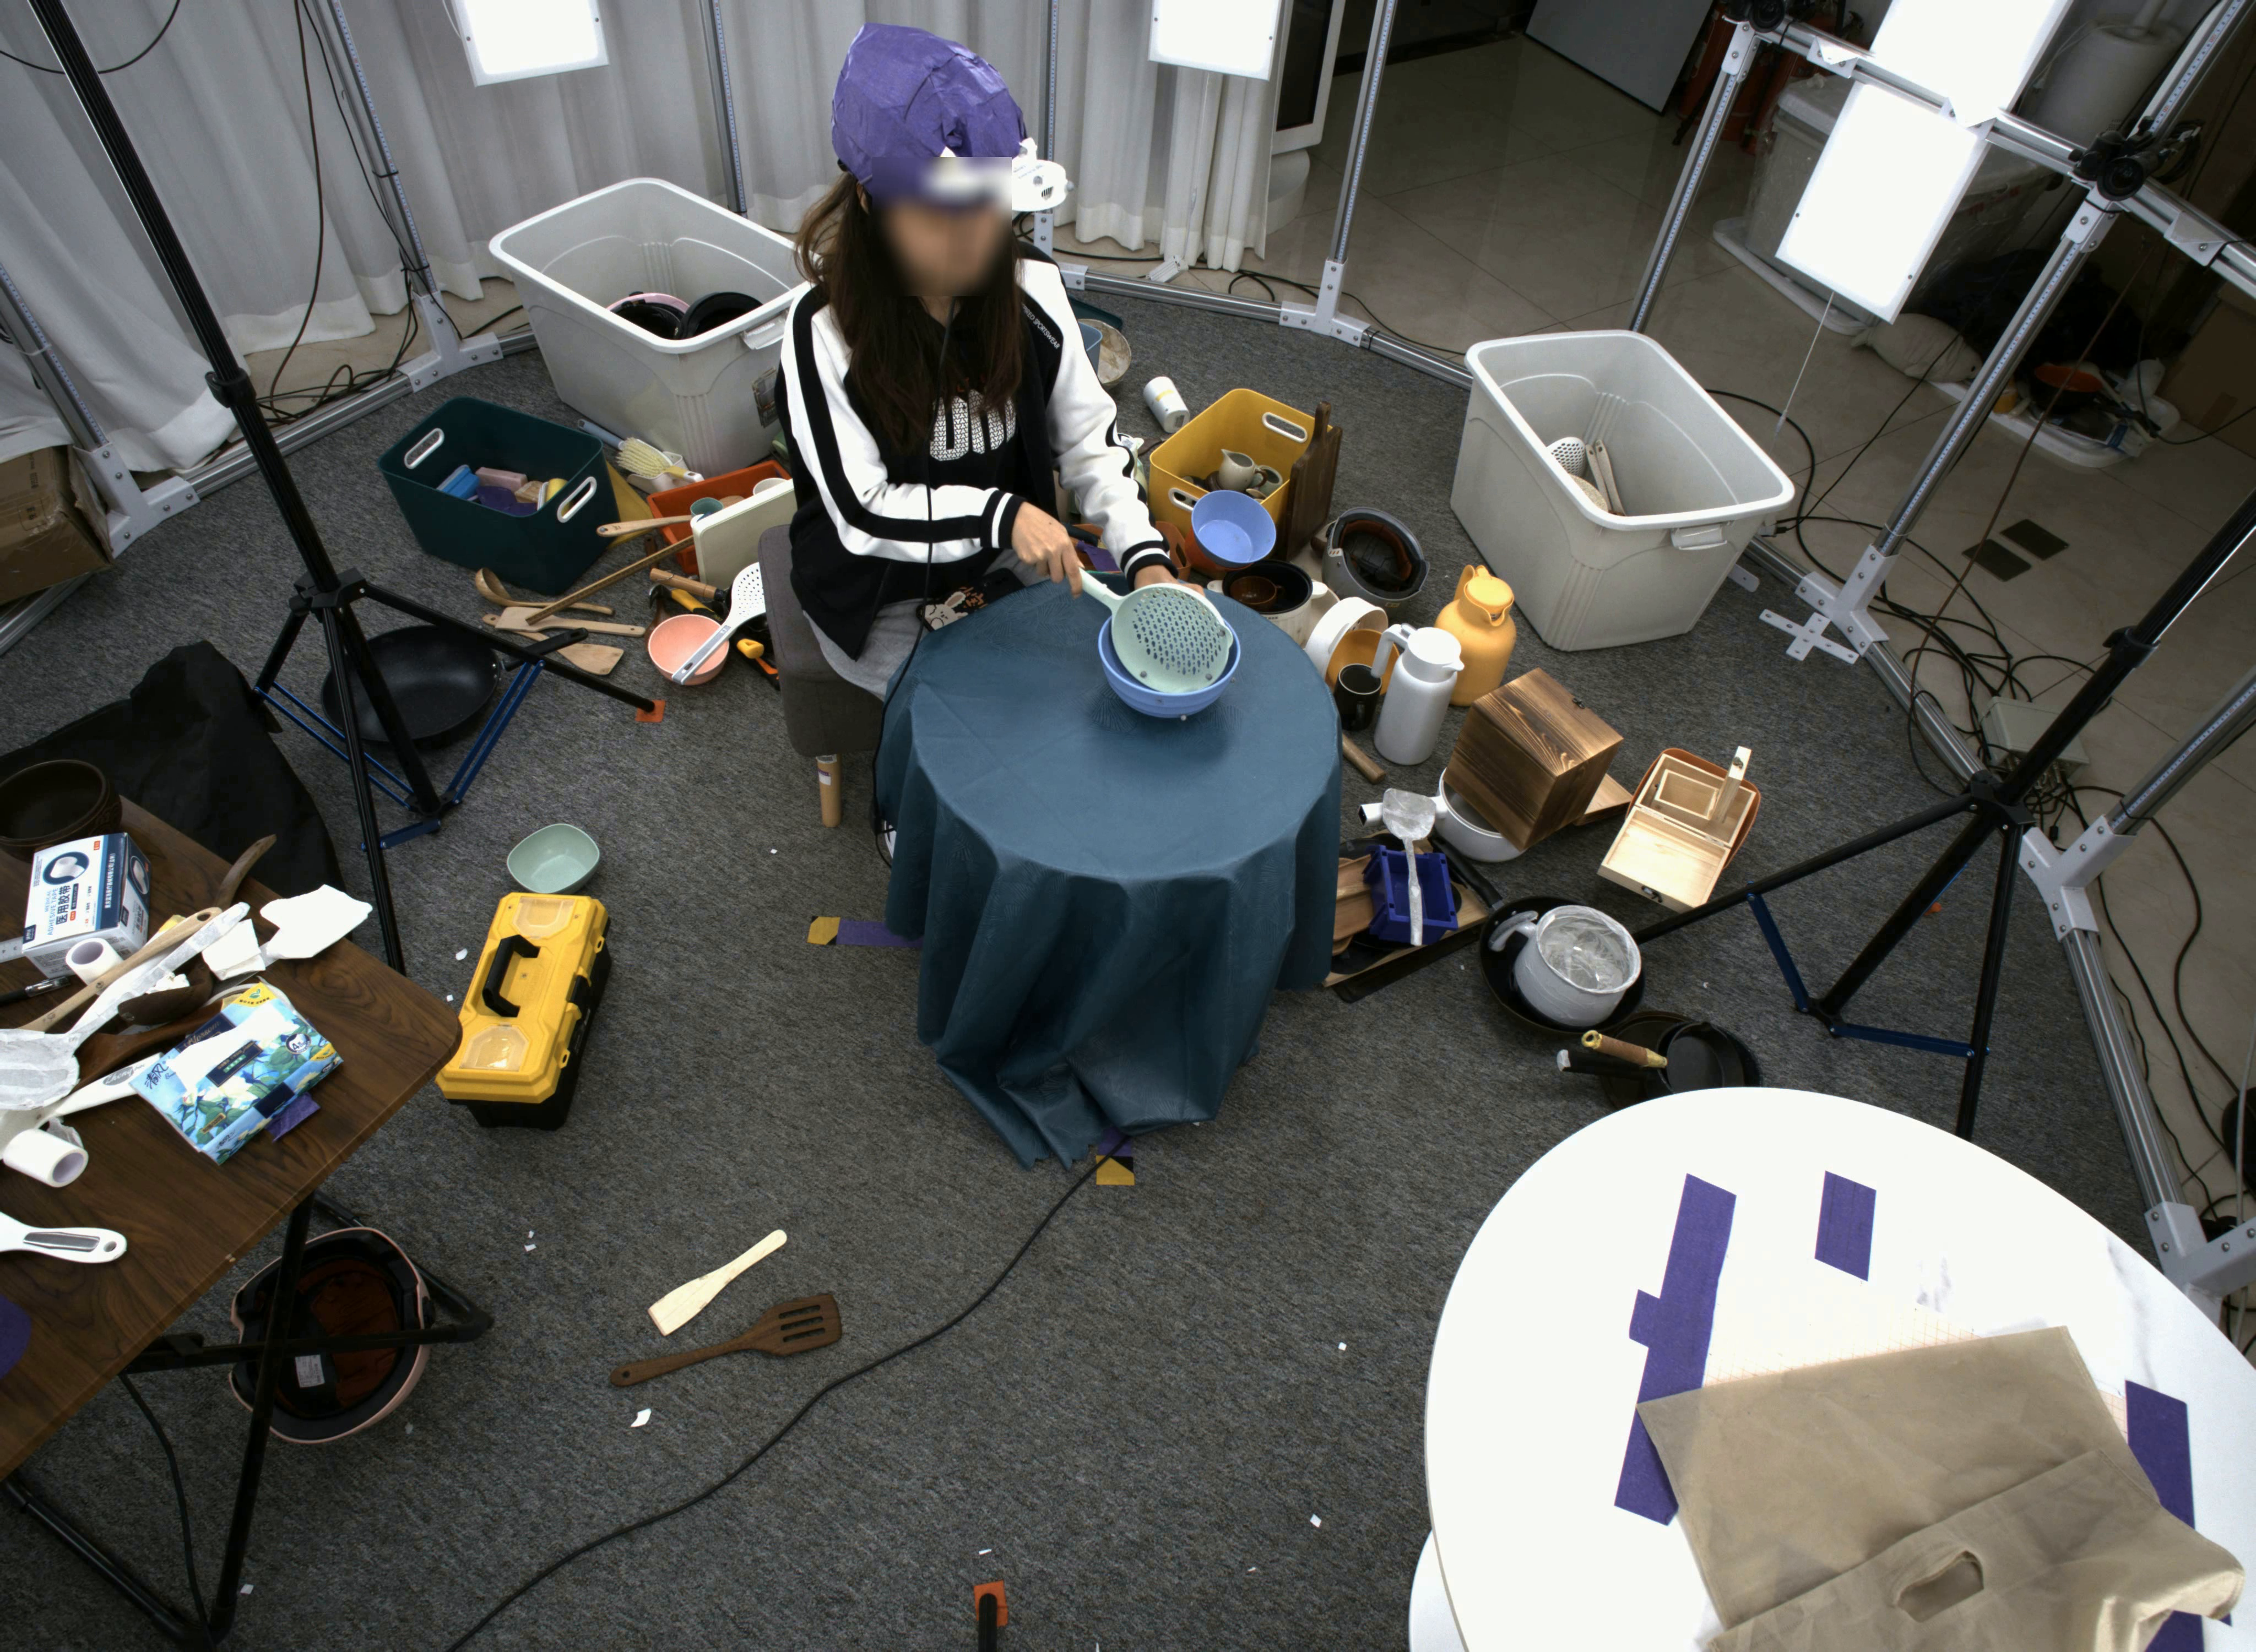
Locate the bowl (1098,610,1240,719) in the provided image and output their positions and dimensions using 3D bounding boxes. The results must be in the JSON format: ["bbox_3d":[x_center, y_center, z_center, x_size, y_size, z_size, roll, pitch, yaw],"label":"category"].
[{"bbox_3d":[0.054,-0.220,1.803,0.196,0.093,0.201,2,50,-2],"label":"bowl"}]

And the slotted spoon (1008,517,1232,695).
[{"bbox_3d":[-0.019,-0.317,1.784,0.357,0.166,0.077,29,41,-6],"label":"slotted spoon"}]
